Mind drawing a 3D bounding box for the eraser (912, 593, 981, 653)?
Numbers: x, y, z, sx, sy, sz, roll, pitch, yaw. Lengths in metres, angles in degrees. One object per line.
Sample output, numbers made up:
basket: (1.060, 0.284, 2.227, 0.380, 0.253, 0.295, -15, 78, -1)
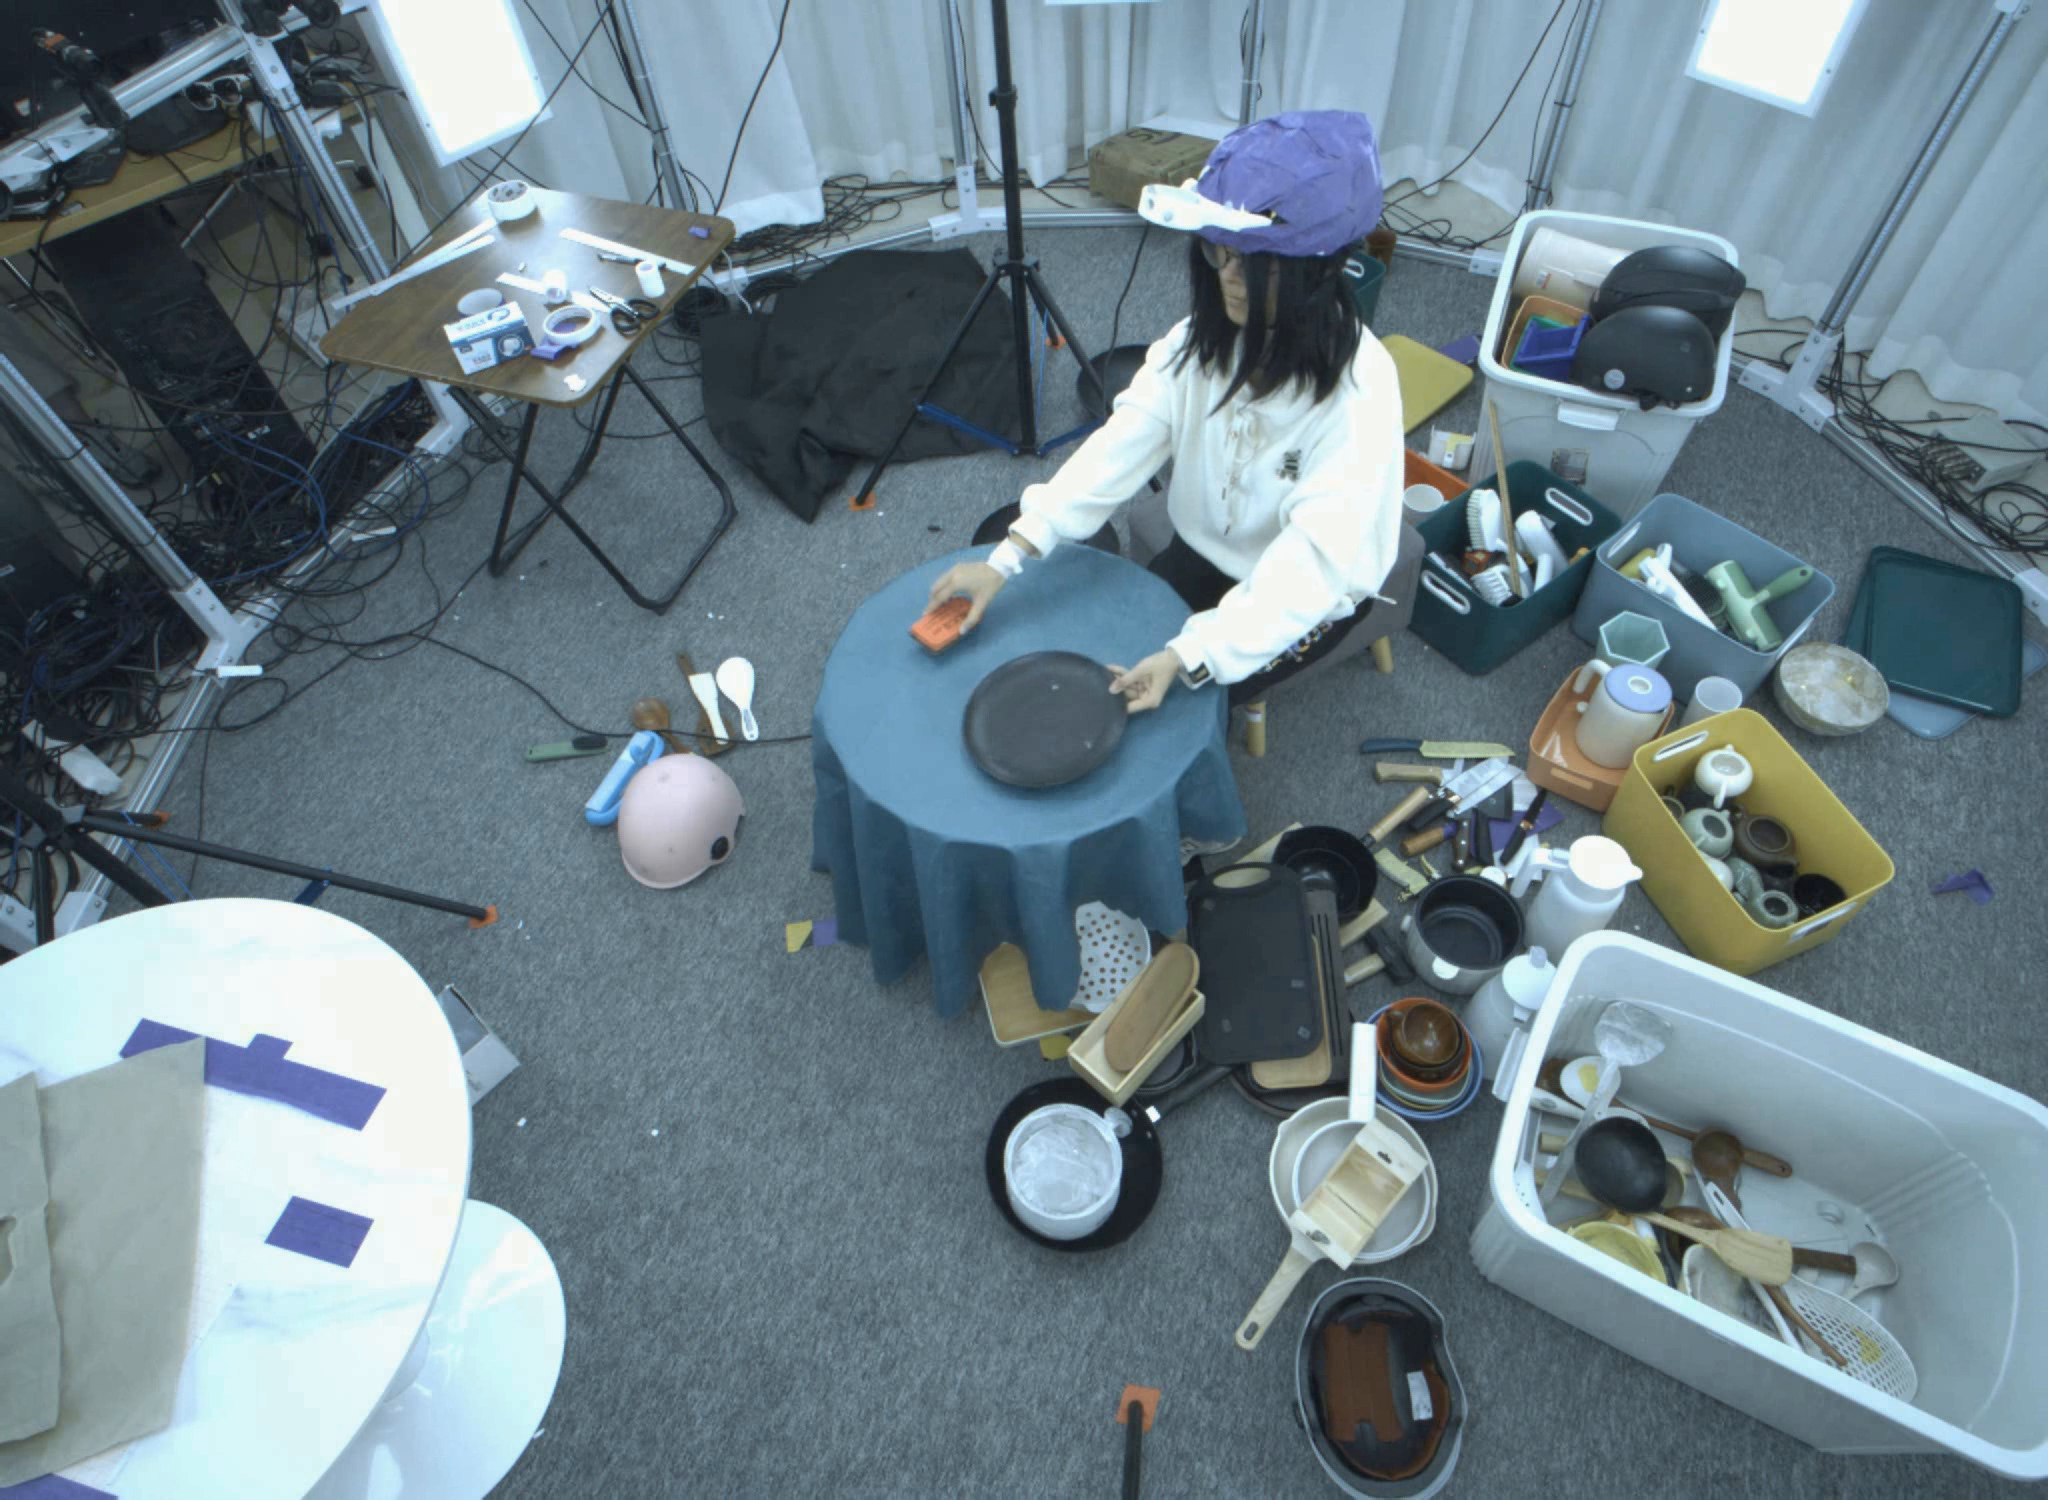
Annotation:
eraser: (-0.120, -0.197, 1.895, 0.058, 0.023, 0.109, 37, 57, 20)

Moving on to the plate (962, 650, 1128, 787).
plate: (0.031, -0.044, 1.790, 0.243, 0.024, 0.242, -4, 56, 8)
